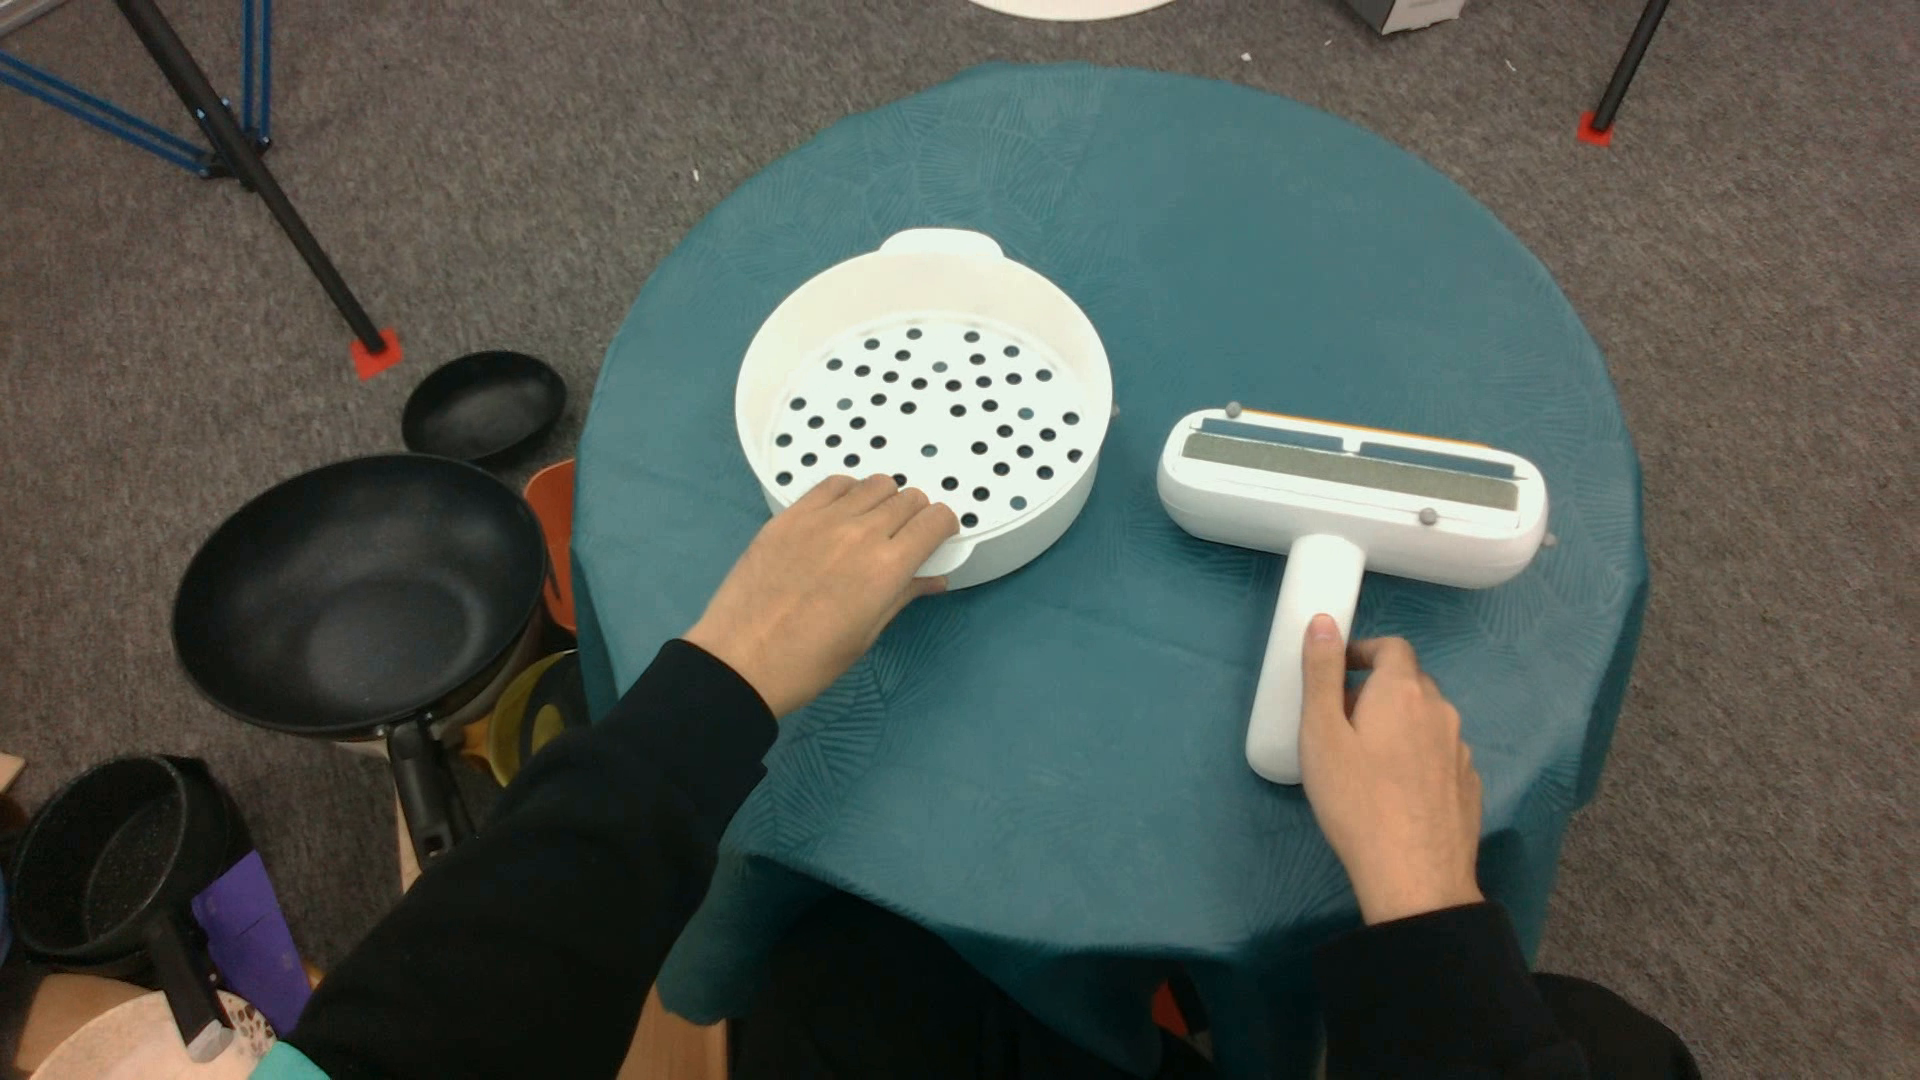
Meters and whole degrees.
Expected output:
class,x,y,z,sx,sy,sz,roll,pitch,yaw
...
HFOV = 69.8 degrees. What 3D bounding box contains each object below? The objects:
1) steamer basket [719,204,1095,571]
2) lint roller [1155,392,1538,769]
class,x,y,z,sx,sy,sz,roll,pitch,yaw
steamer basket,-0.027,-0.079,0.762,0.202,0.069,0.231,3,62,4
lint roller,0.175,0.021,0.696,0.193,0.074,0.193,17,63,17
